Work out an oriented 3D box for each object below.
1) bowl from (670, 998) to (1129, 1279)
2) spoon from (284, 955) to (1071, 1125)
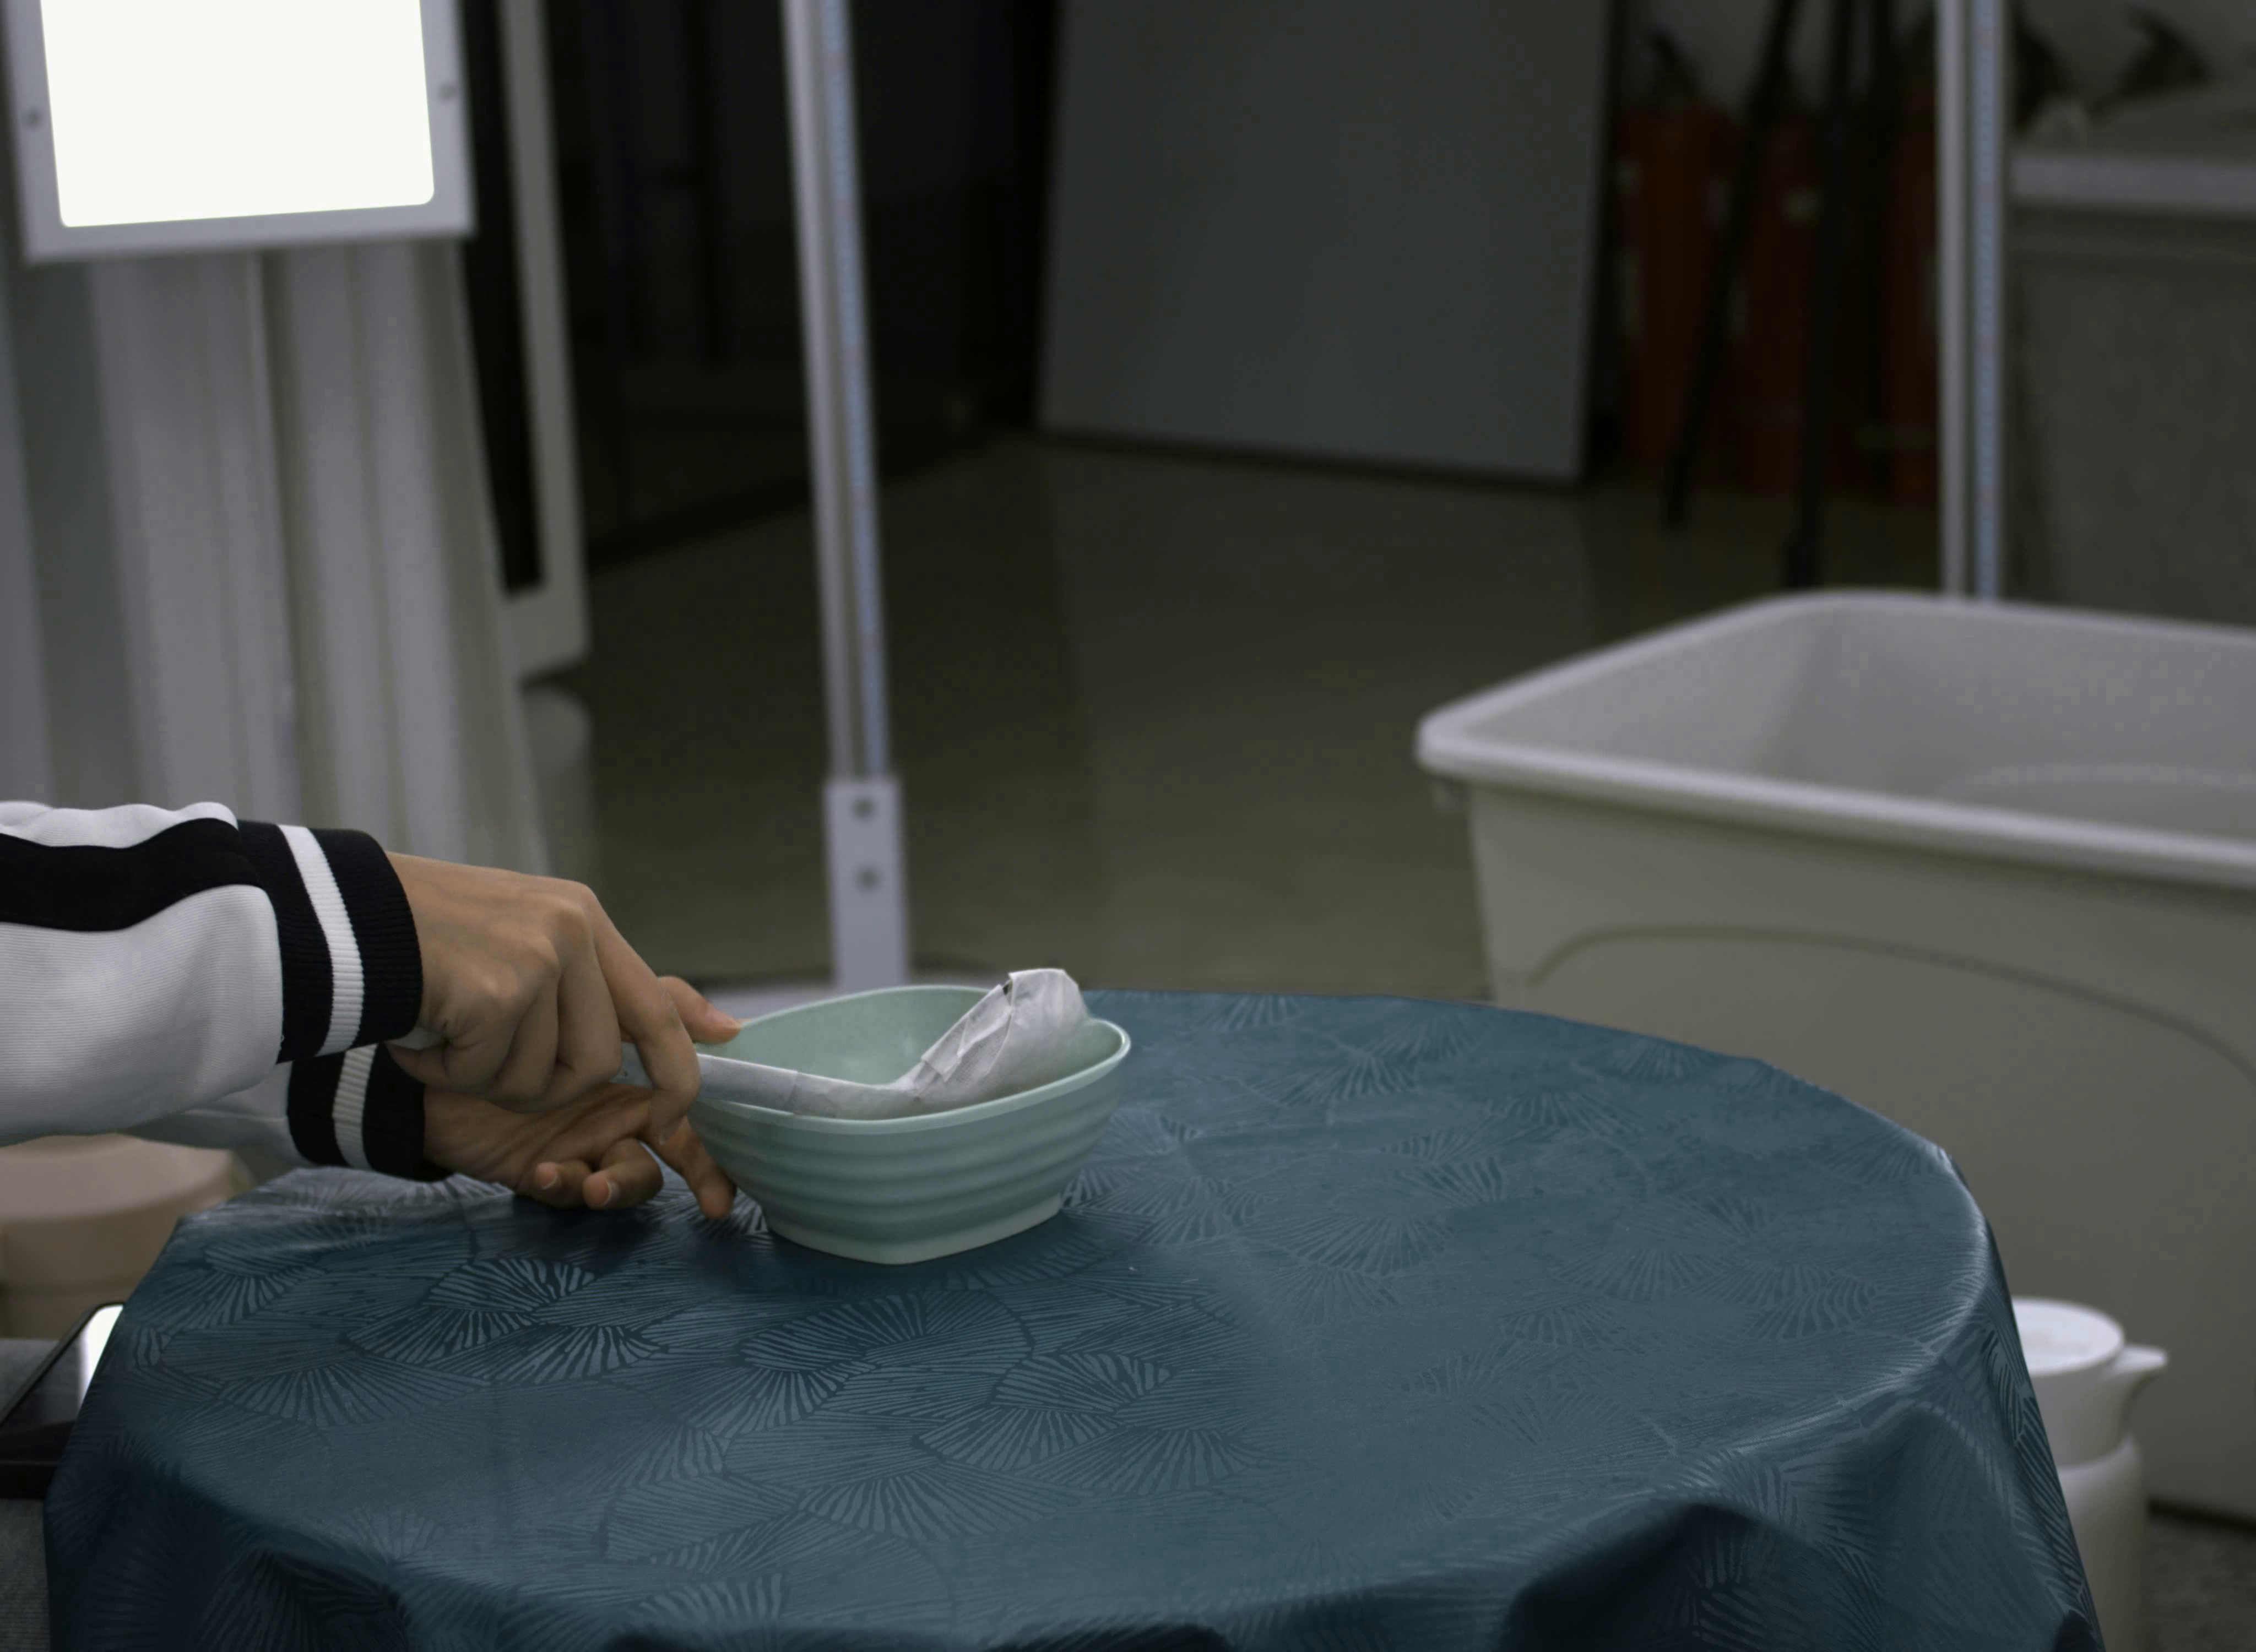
[{"bbox_3d":[-0.072,0.104,1.753,0.149,0.059,0.152,-5,14,0],"label":"bowl"},{"bbox_3d":[-0.138,0.070,1.693,0.271,0.102,0.060,10,24,-24],"label":"spoon"}]
